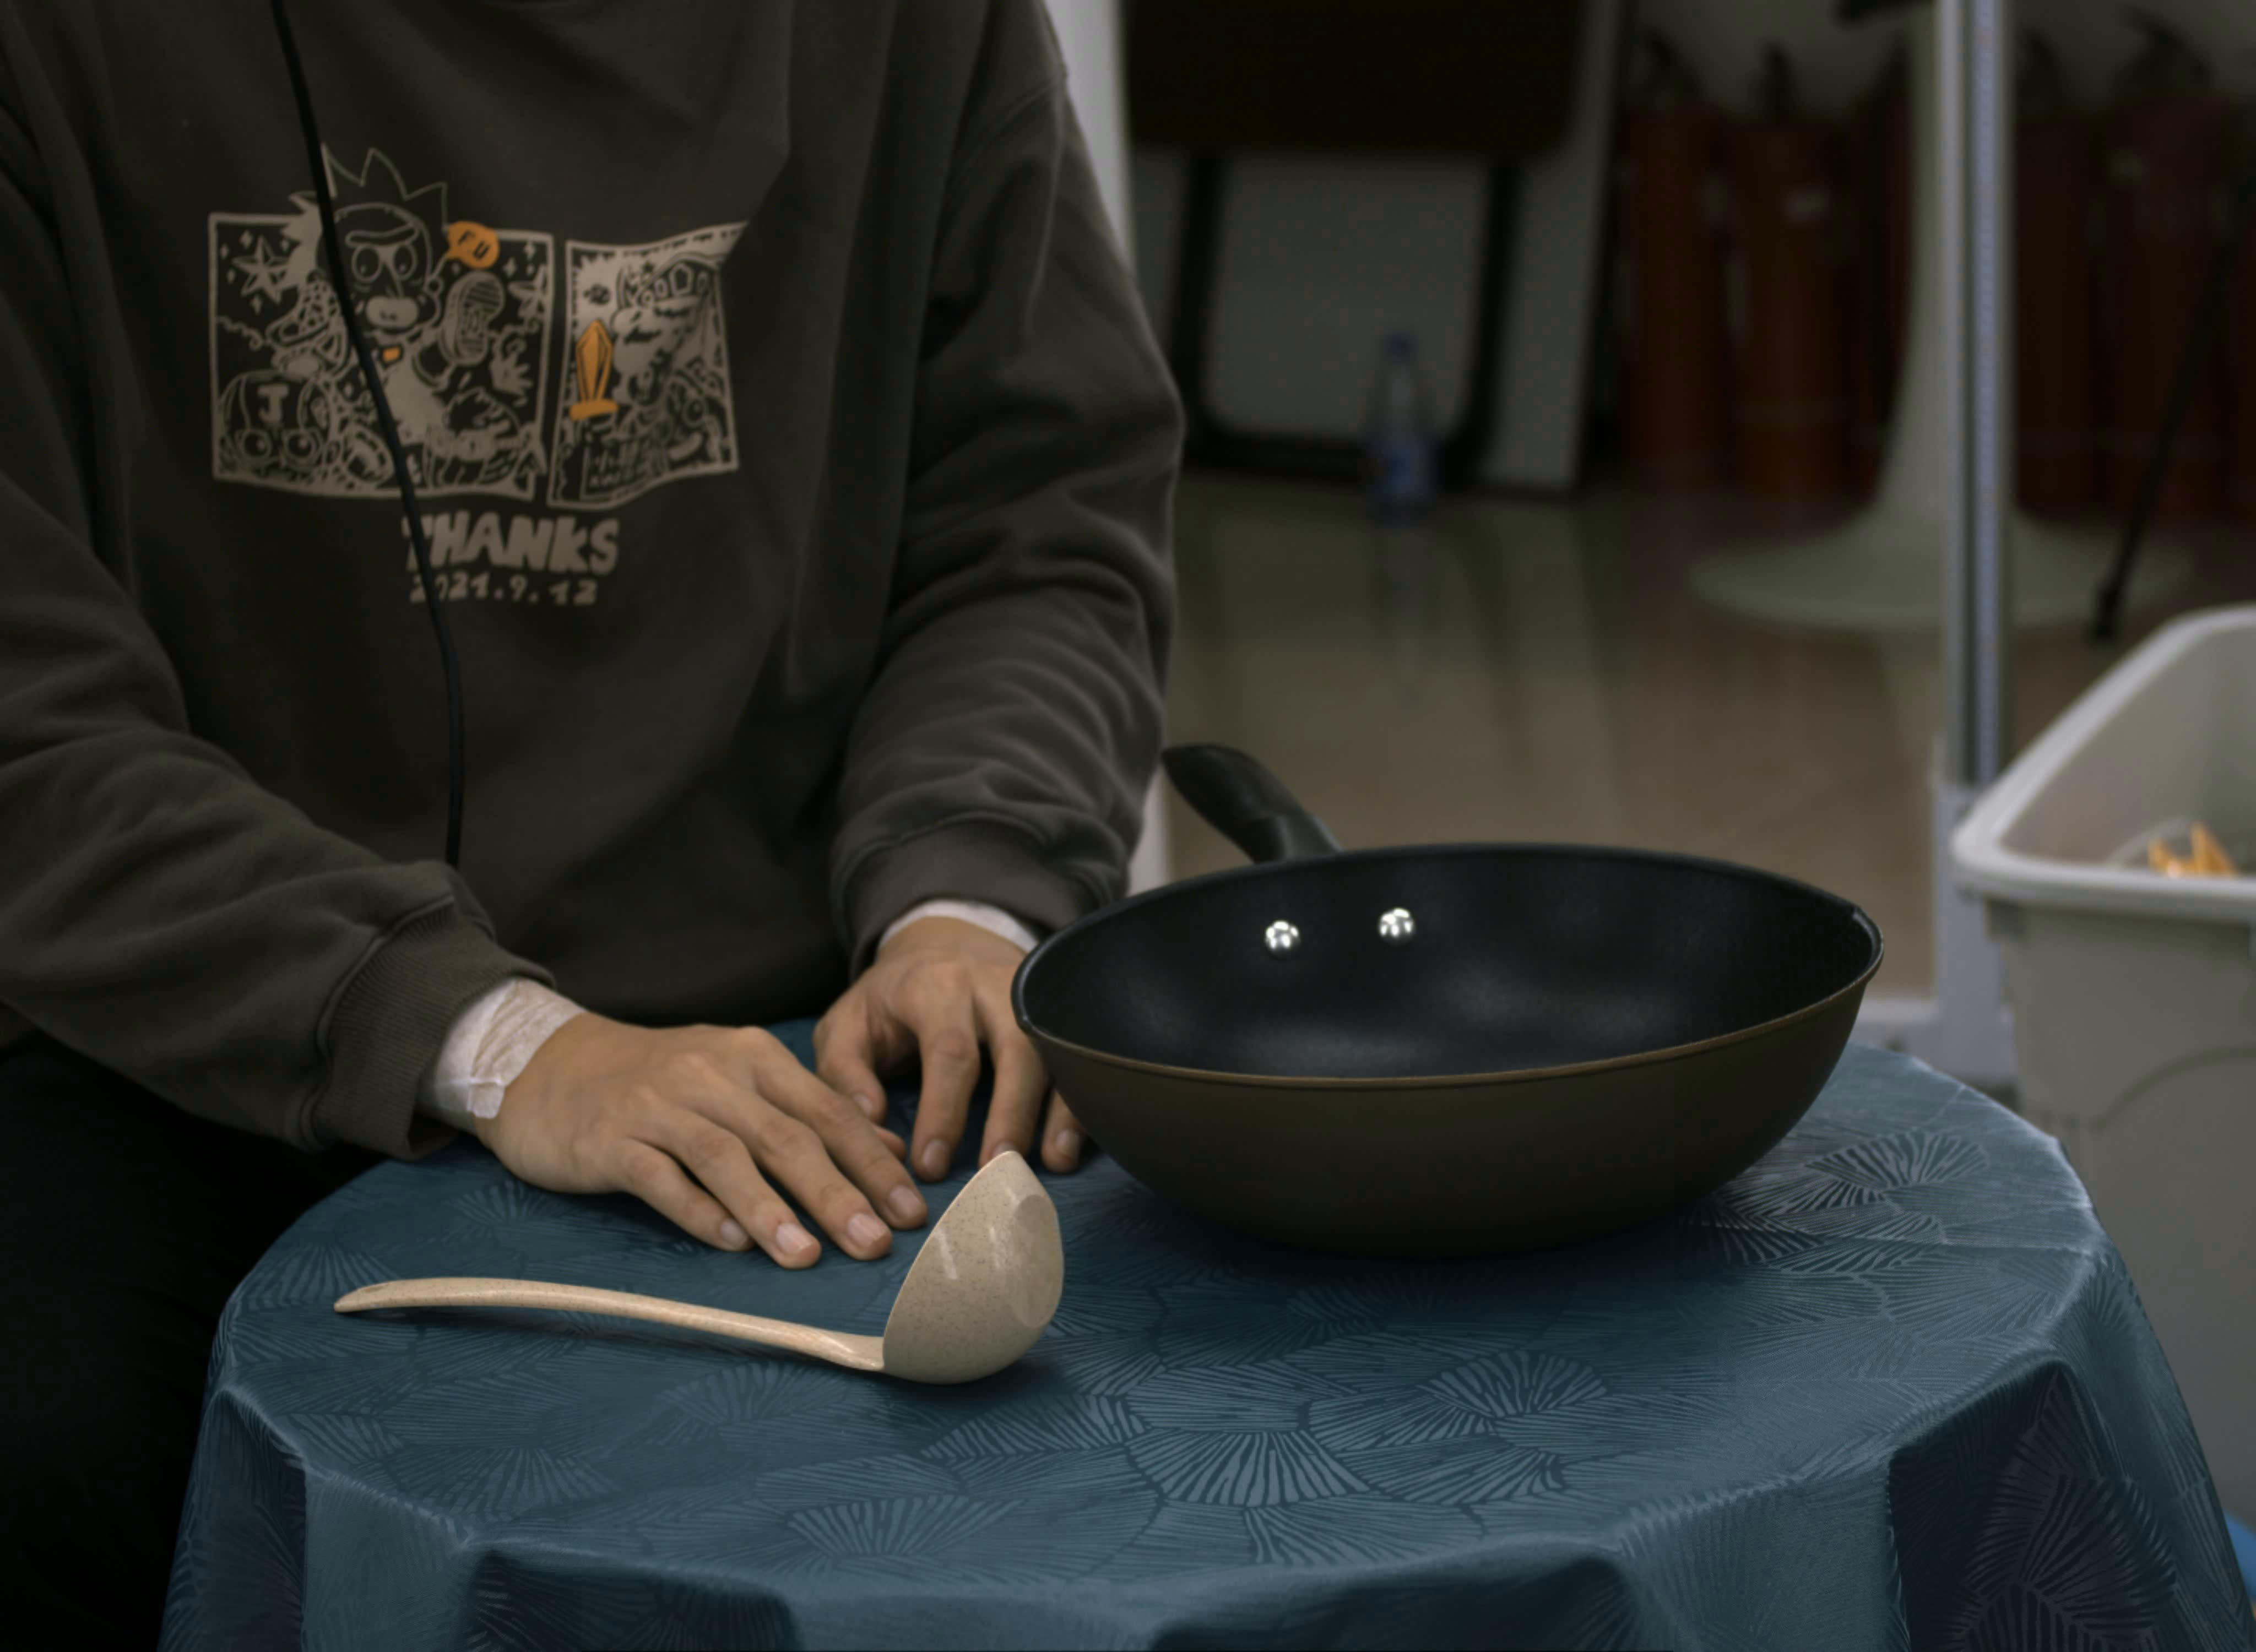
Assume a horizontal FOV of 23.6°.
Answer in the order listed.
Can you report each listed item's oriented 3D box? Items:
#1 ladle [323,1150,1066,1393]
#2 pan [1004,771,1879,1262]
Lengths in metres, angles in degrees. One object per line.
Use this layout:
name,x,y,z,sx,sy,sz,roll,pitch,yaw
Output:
ladle,-0.139,0.126,1.642,0.255,0.073,0.071,4,17,25
pan,0.081,0.061,1.826,0.283,0.088,0.466,-7,13,-12
